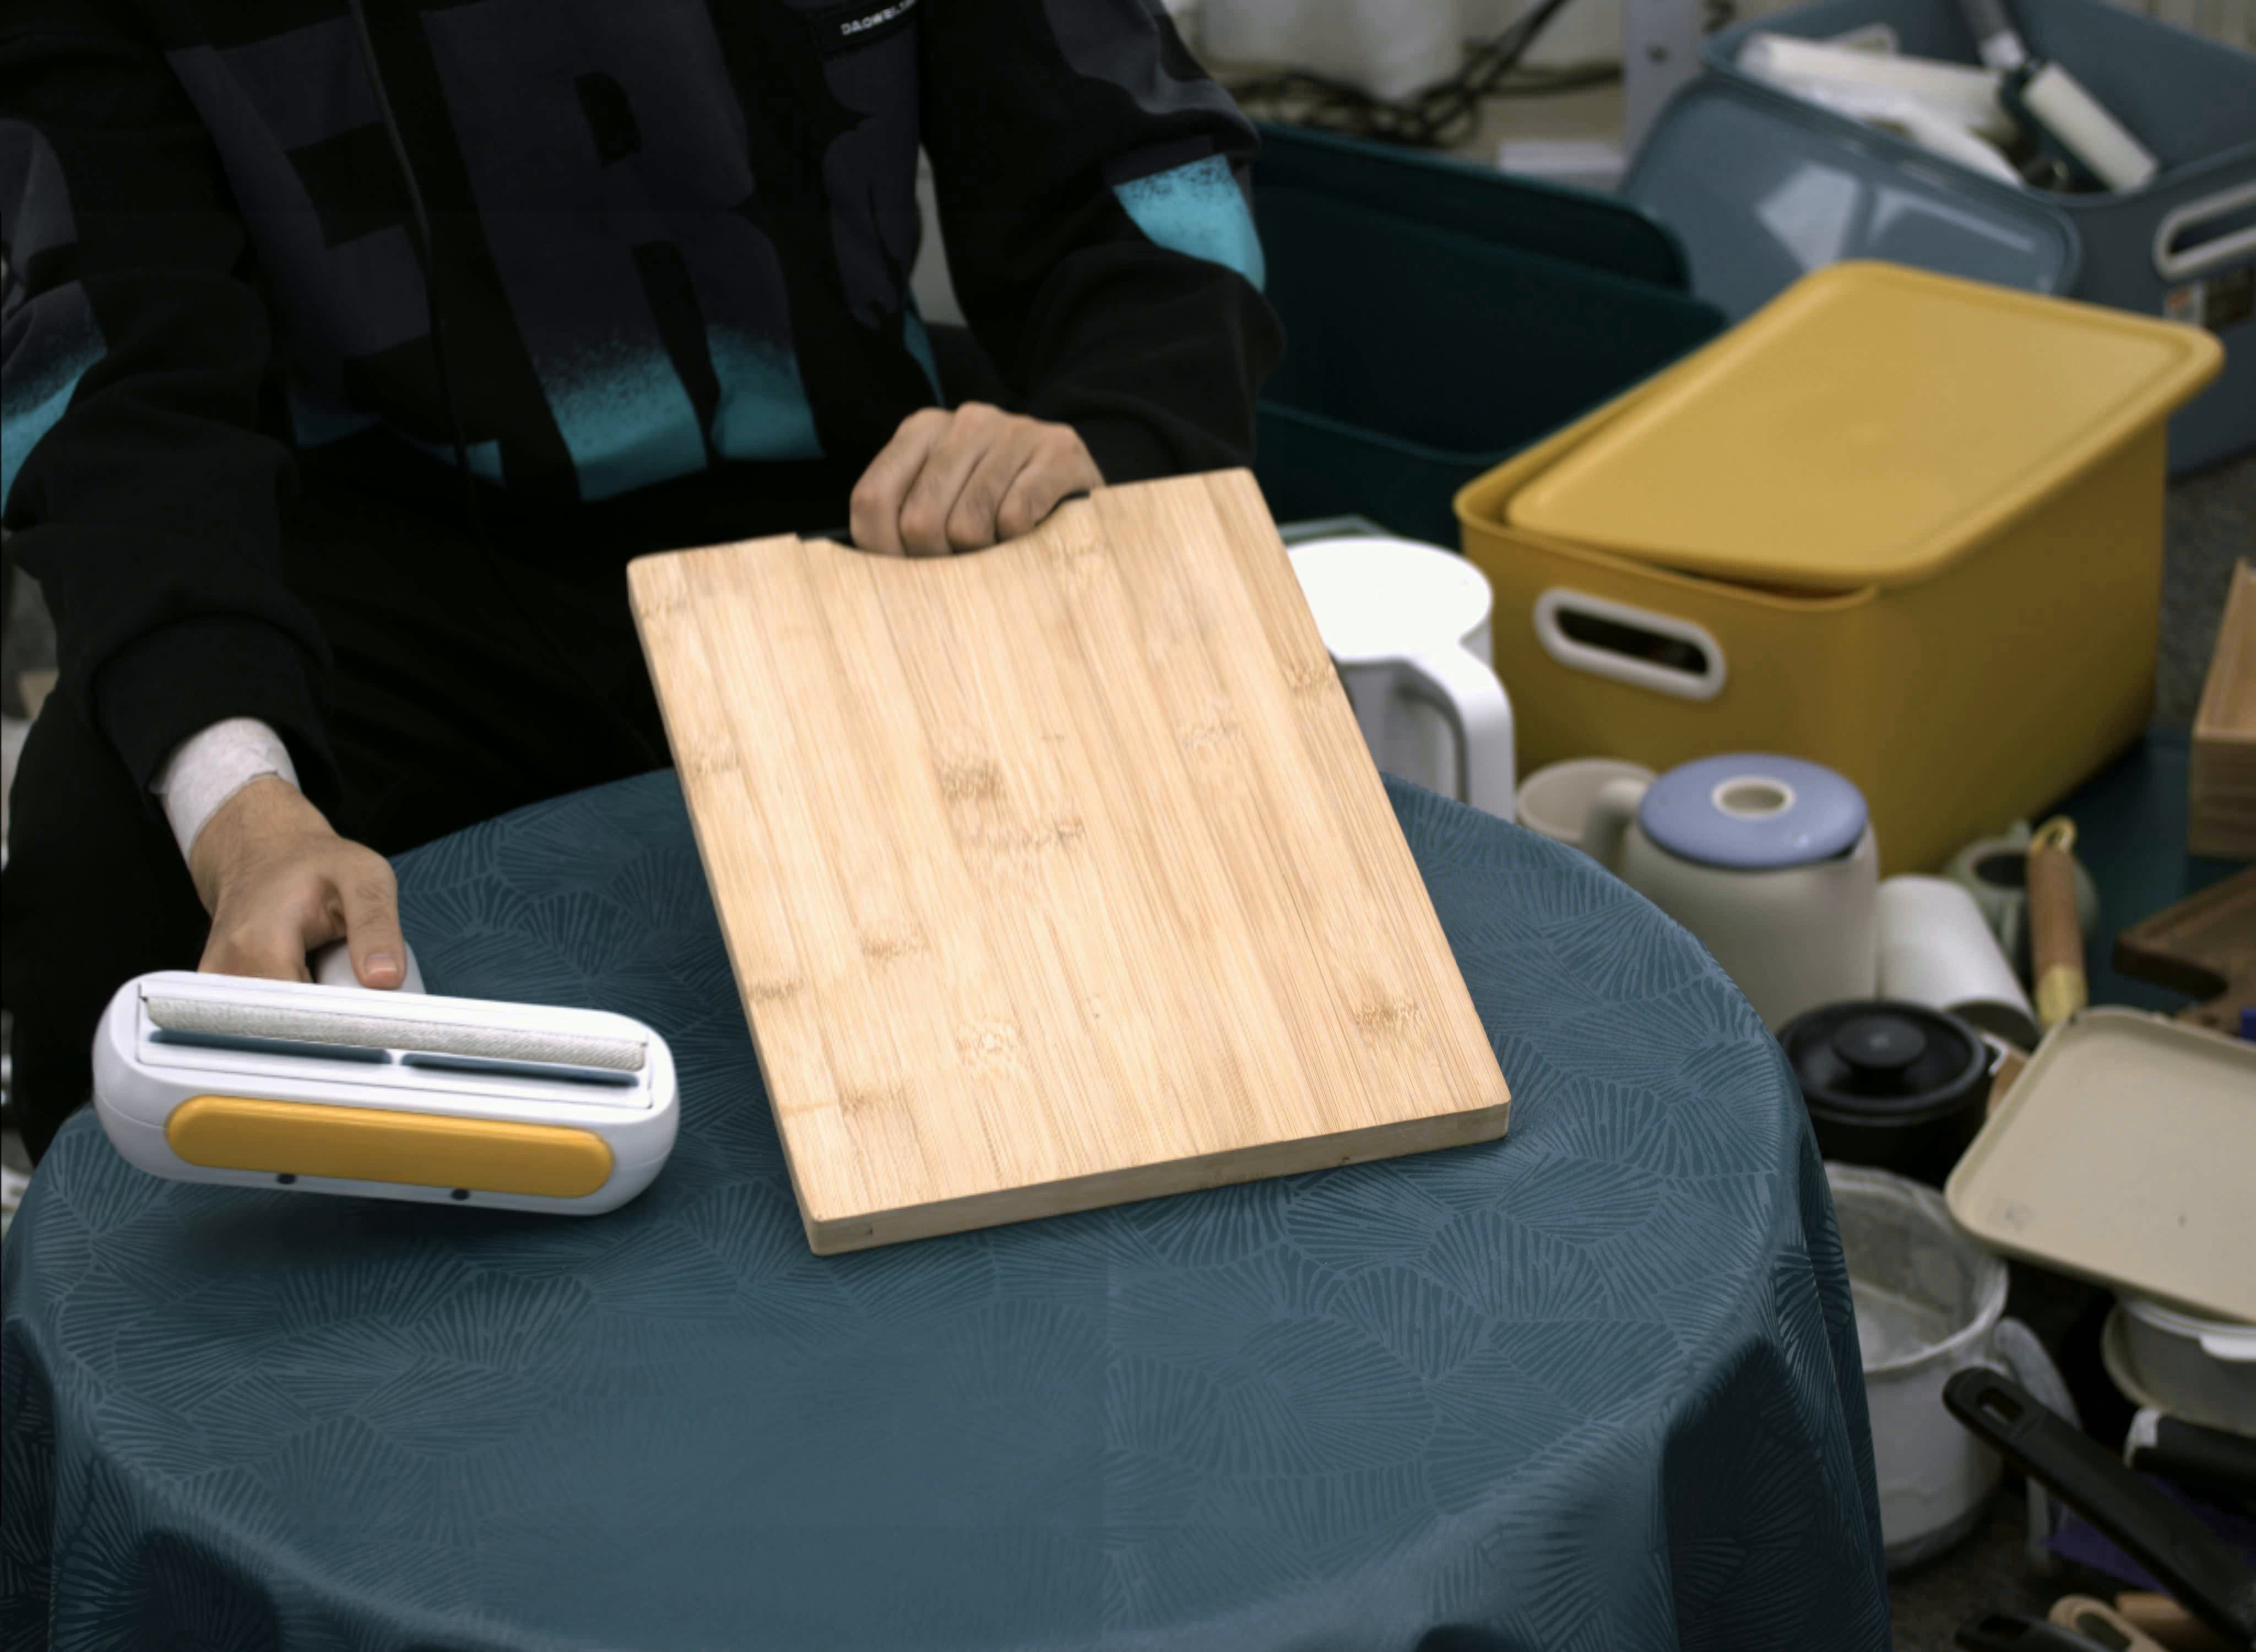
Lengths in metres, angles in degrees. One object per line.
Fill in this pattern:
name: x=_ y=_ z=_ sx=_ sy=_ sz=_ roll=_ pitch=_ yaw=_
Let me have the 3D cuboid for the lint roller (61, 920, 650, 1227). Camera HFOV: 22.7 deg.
lint roller: x=-0.259 y=0.069 z=1.903 sx=0.192 sy=0.073 sz=0.195 roll=4 pitch=26 yaw=-8

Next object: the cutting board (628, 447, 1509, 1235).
cutting board: x=-0.029 y=-0.001 z=1.978 sx=0.250 sy=0.023 sz=0.354 roll=-9 pitch=44 yaw=-12
